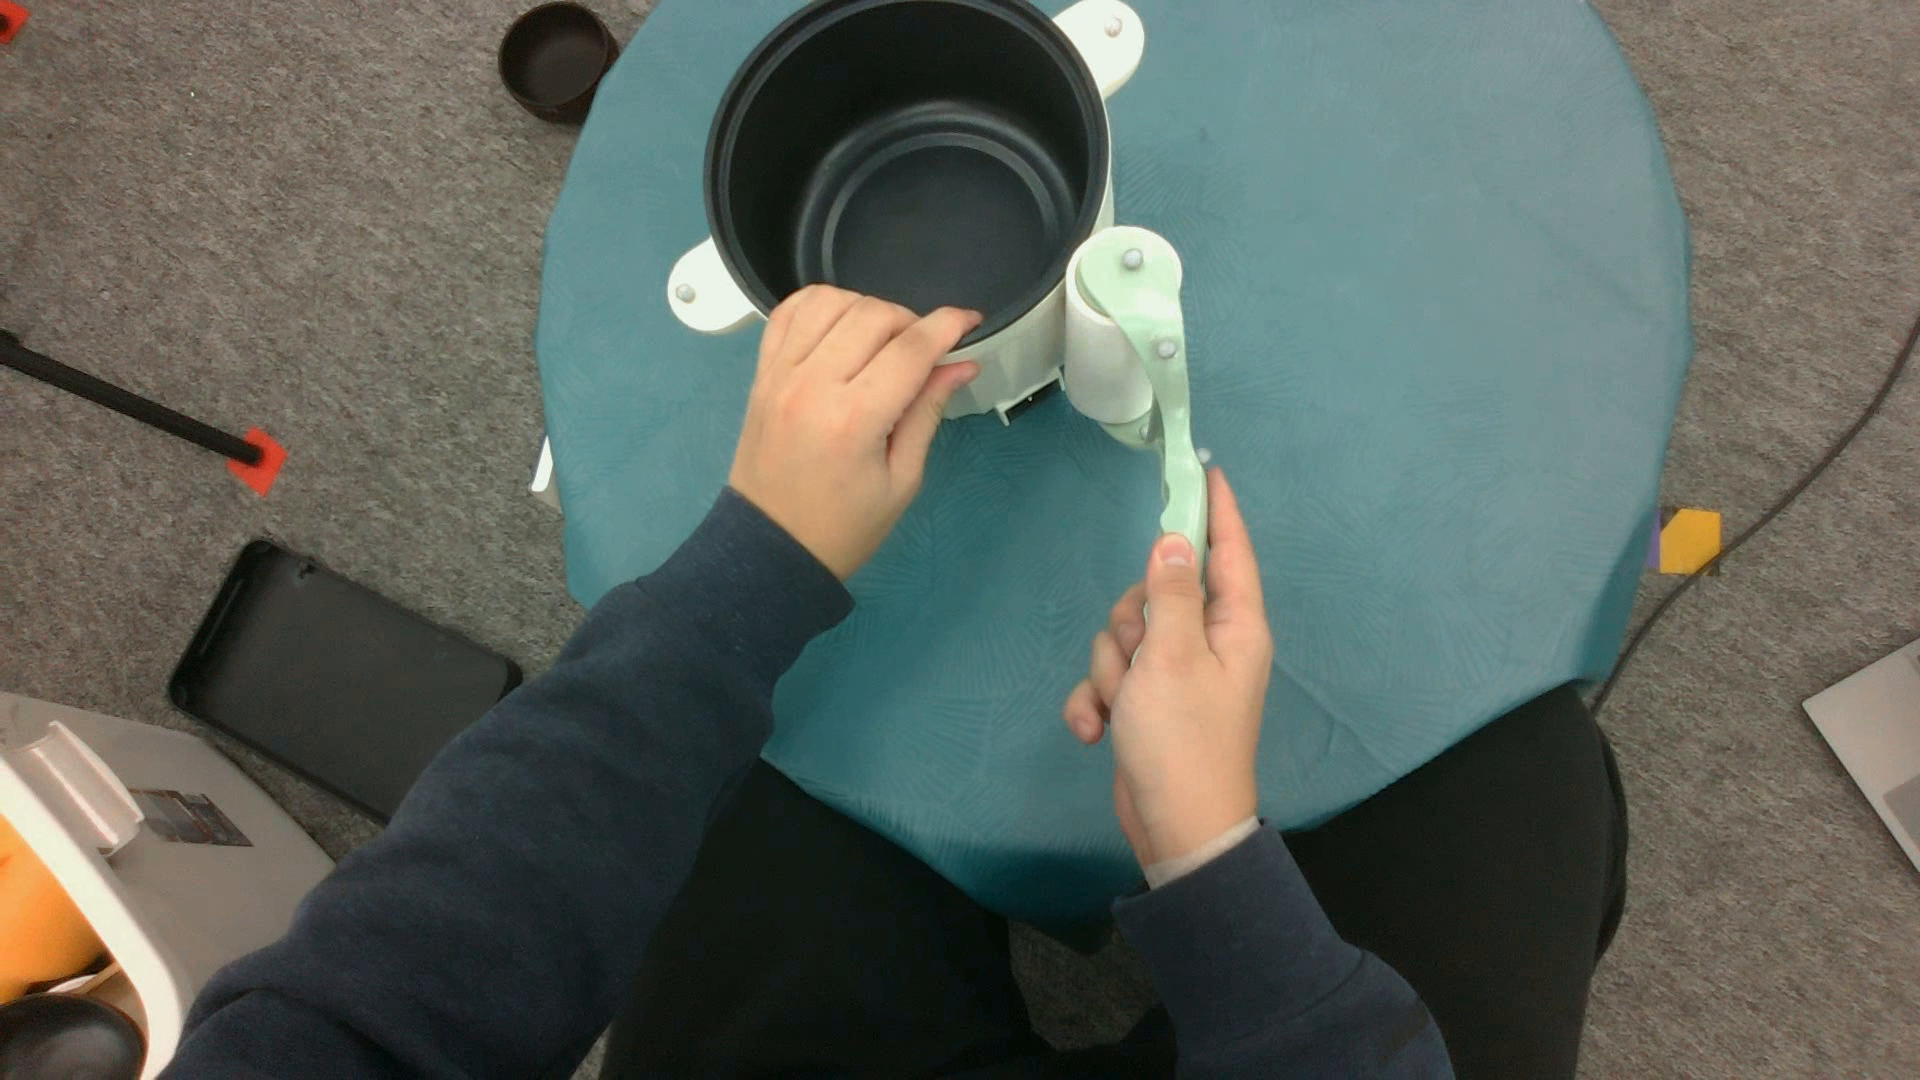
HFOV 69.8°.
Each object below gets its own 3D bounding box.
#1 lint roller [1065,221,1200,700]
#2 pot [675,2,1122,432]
[{"bbox_3d":[0.080,-0.030,0.599,0.048,0.116,0.198,-7,70,0],"label":"lint roller"},{"bbox_3d":[-0.022,-0.151,0.683,0.240,0.142,0.190,-35,78,0],"label":"pot"}]
